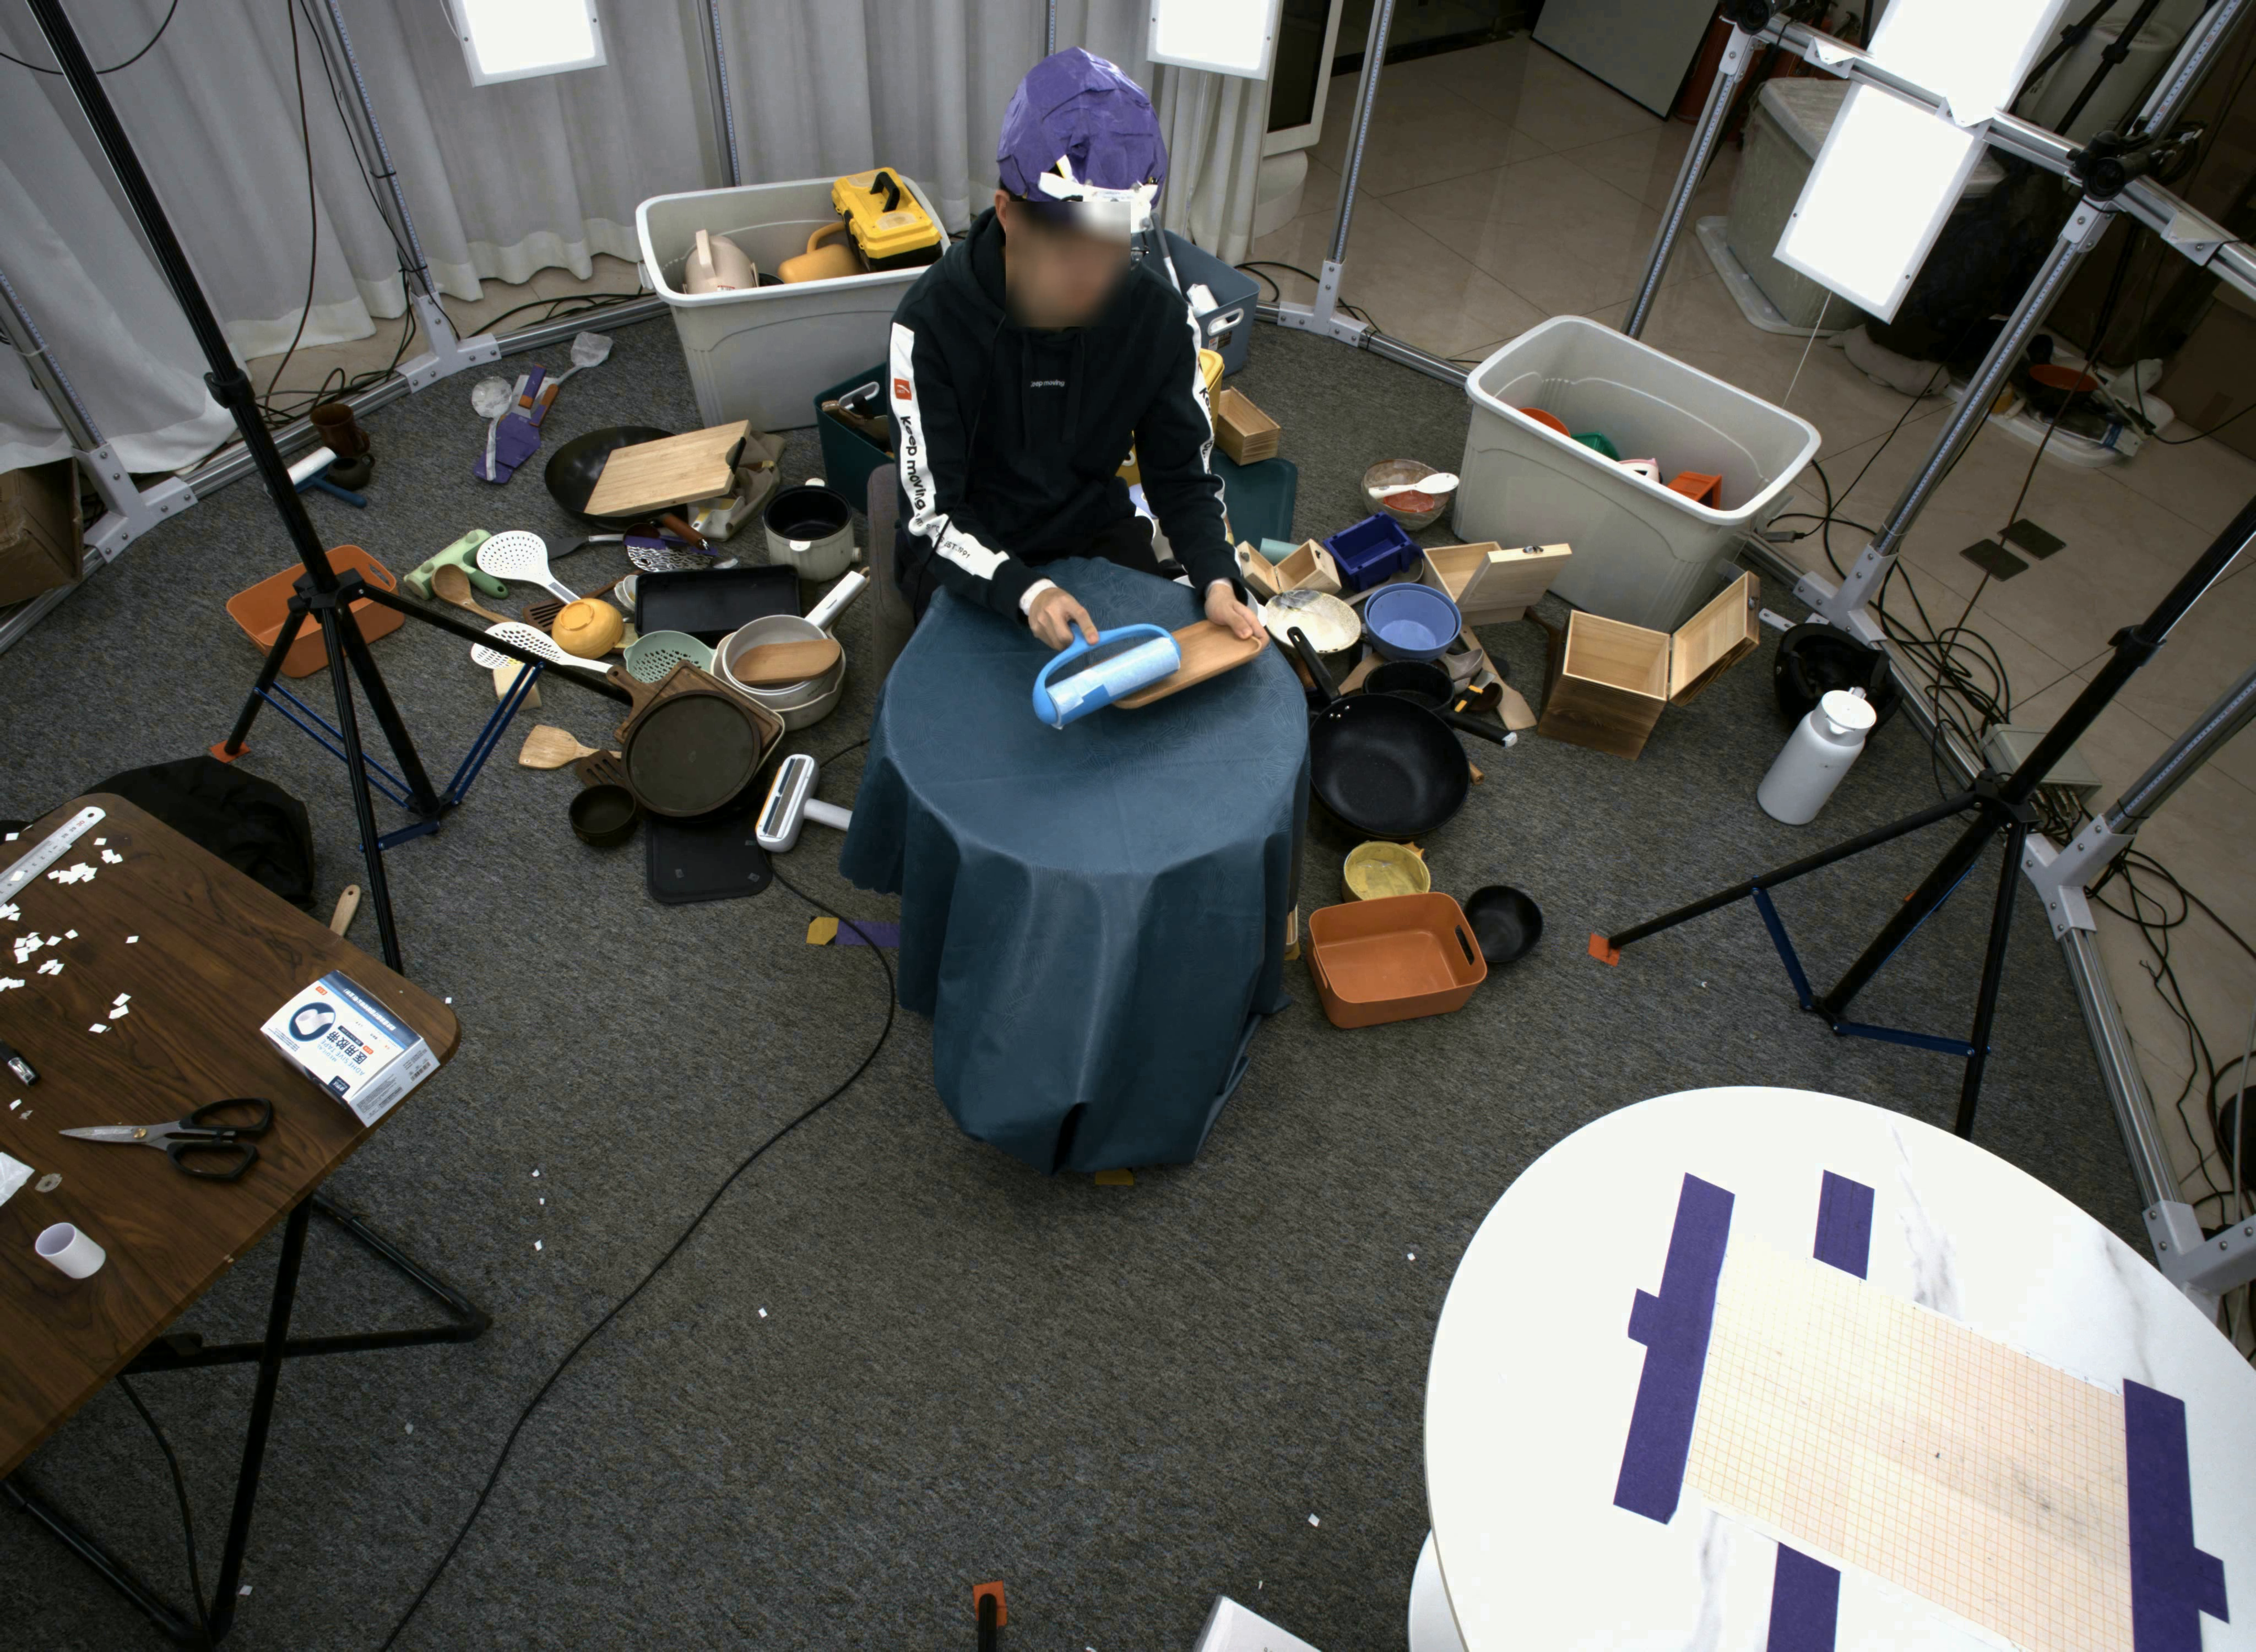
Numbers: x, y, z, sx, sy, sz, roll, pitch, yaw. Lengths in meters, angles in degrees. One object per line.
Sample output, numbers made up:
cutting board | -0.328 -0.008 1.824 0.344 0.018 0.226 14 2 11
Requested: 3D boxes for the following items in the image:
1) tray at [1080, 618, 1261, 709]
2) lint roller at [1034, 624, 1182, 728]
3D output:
tray | 0.061 -0.231 1.810 0.251 0.022 0.133 -24 37 -23
lint roller | -0.060 -0.233 1.745 0.230 0.066 0.183 -30 58 -24
